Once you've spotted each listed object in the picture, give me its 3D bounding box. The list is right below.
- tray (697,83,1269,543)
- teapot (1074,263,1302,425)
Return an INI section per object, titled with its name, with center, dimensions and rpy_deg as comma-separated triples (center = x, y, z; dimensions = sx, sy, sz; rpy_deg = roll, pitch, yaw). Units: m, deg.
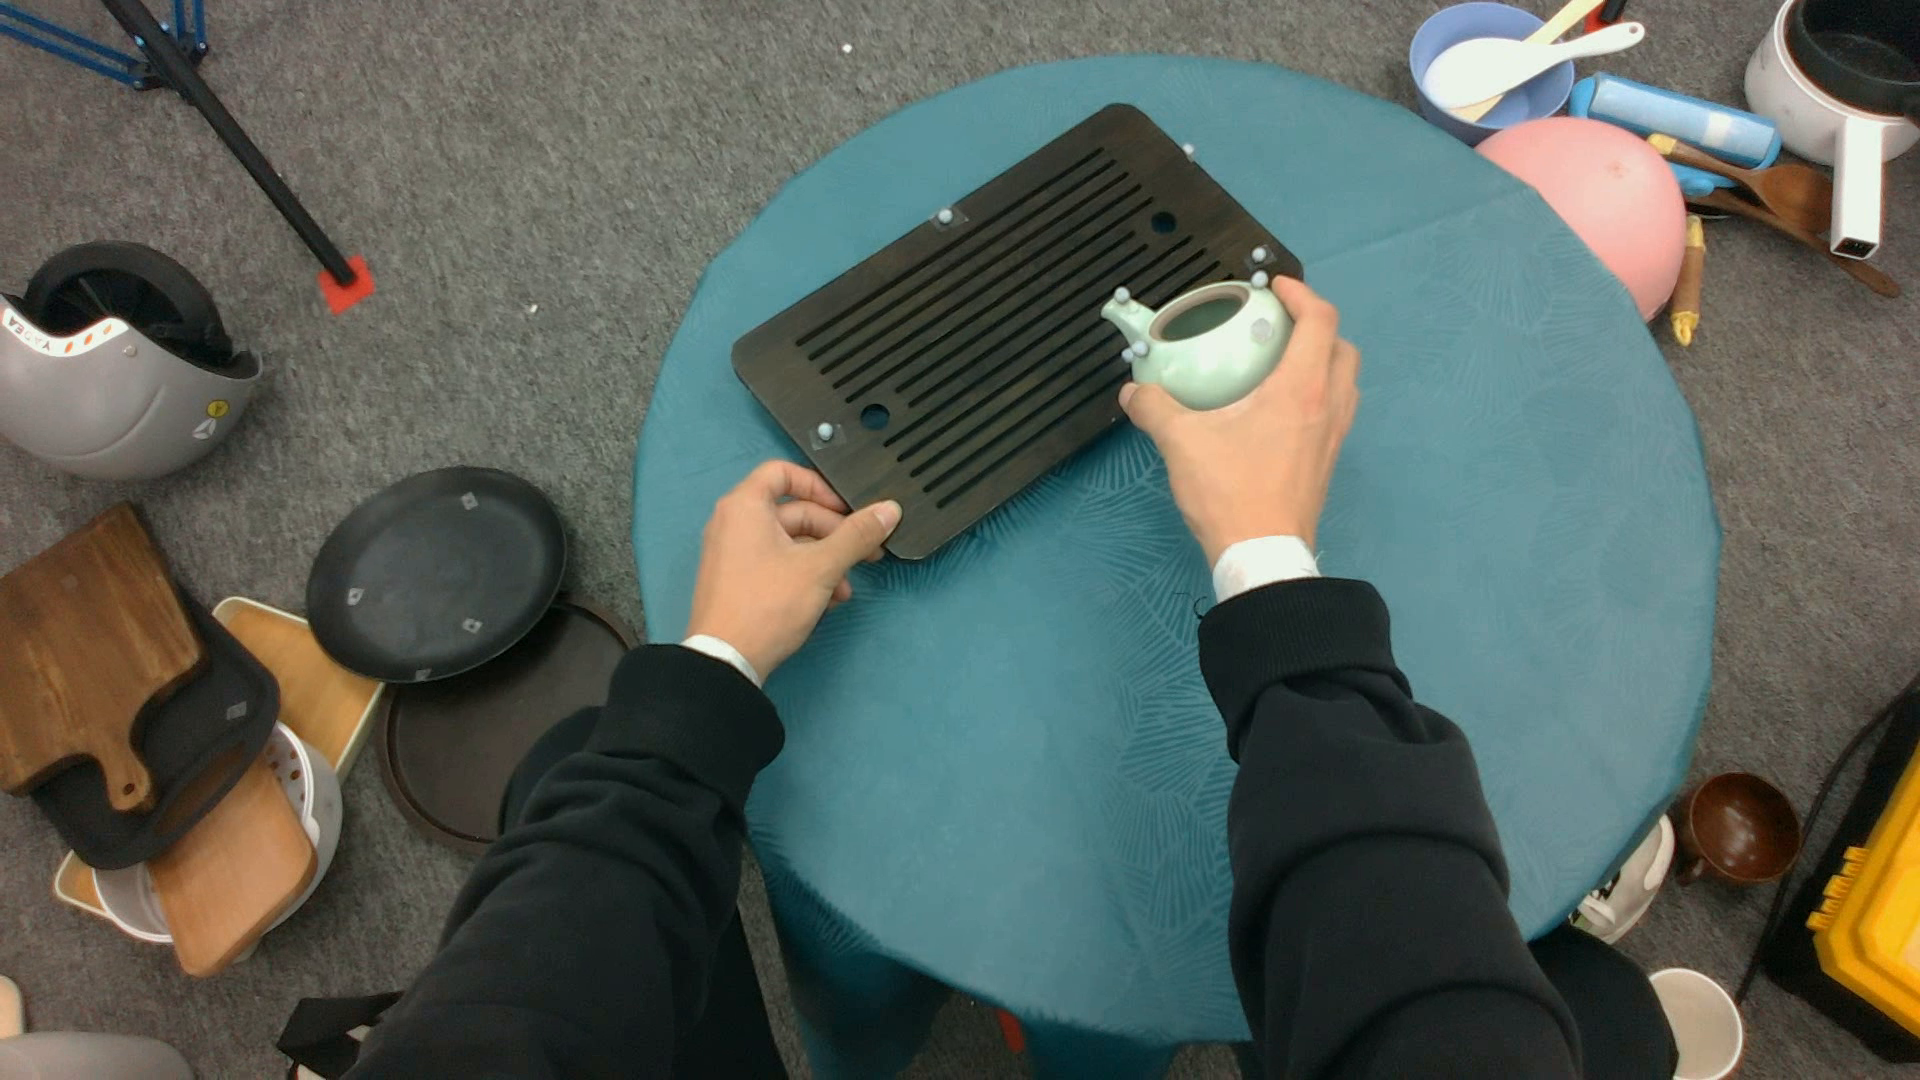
[tray]
center = 0.017, -0.139, 0.790
dimensions = 0.307, 0.018, 0.170
rpy_deg = -36, 73, -18
[teapot]
center = 0.119, -0.101, 0.703
dimensions = 0.088, 0.074, 0.143
rpy_deg = -41, 28, -21
